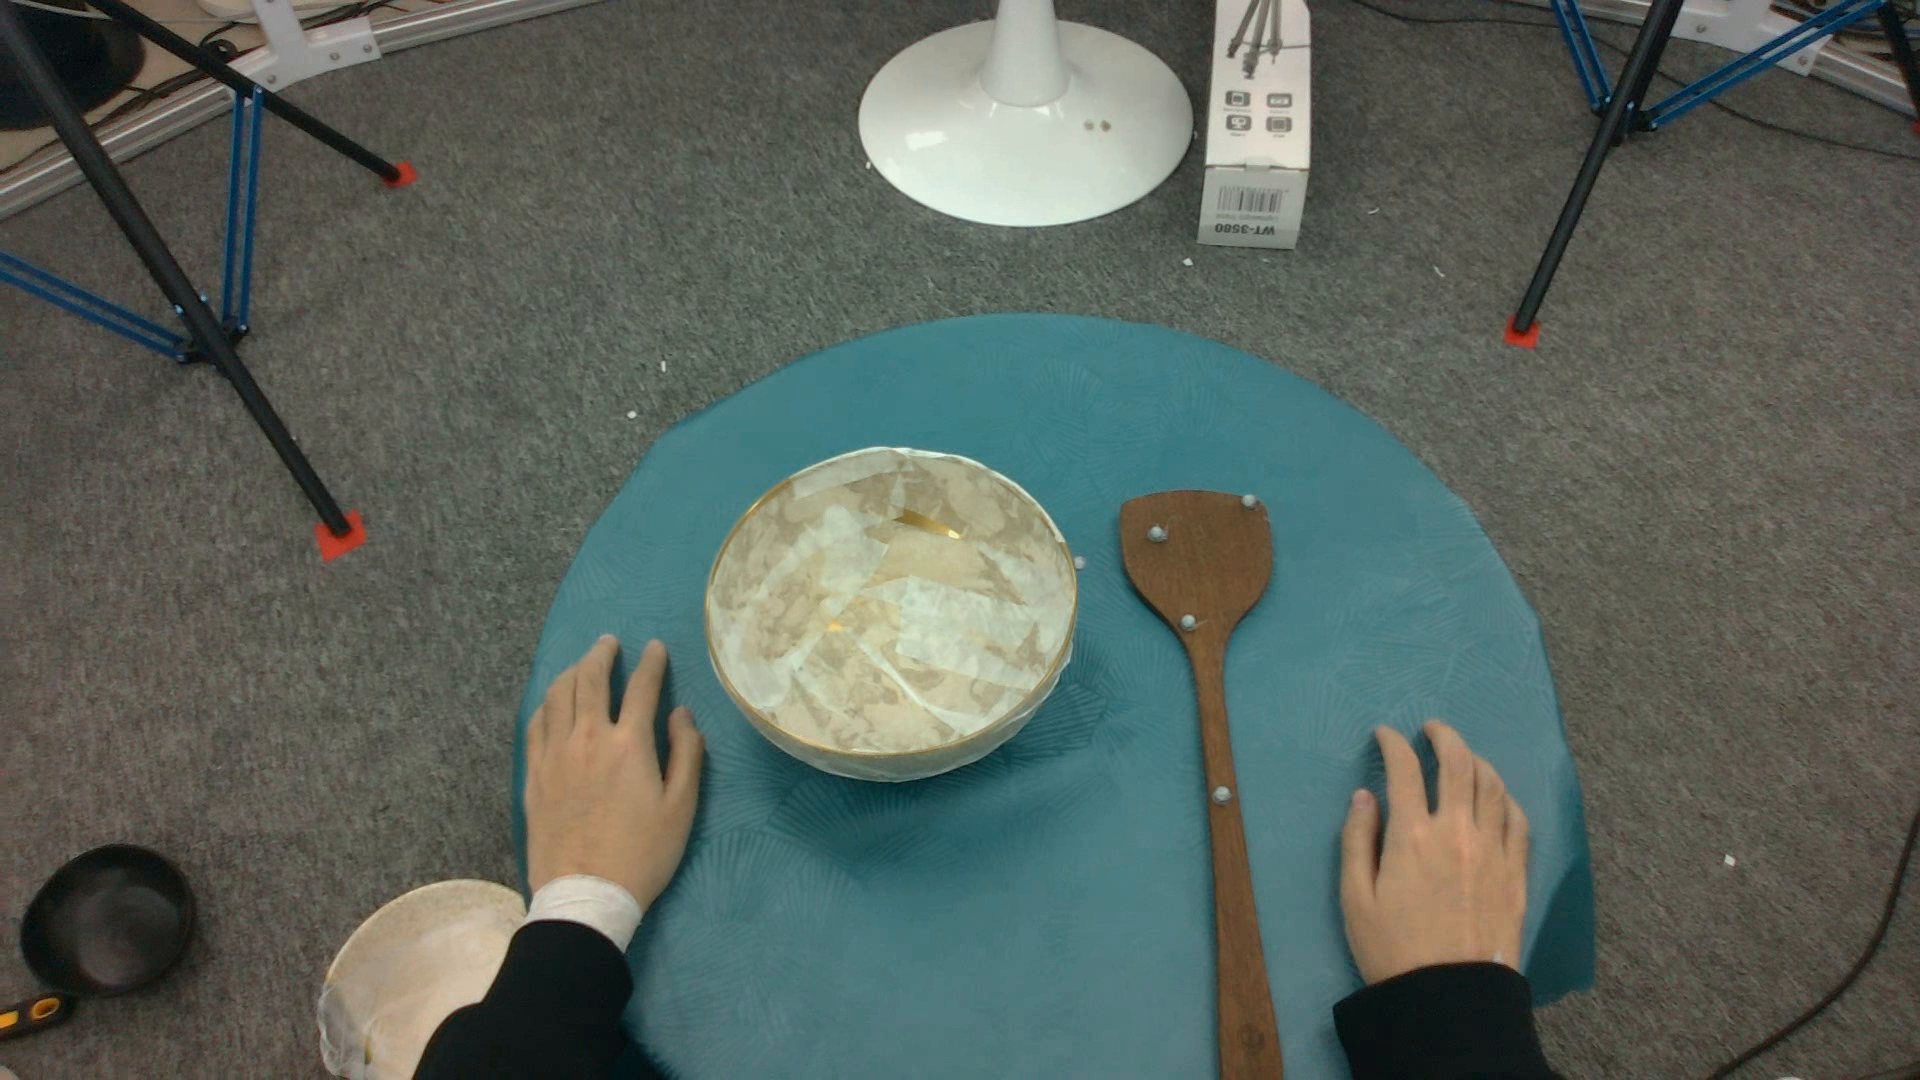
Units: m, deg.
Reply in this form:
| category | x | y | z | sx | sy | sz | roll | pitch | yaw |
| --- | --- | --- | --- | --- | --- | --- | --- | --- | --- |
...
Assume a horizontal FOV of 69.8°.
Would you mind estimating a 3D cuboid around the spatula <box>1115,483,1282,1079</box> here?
| category | x | y | z | sx | sy | sz | roll | pitch | yaw |
| --- | --- | --- | --- | --- | --- | --- | --- | --- | --- |
| spatula | 0.141 | 0.121 | 0.759 | 0.096 | 0.016 | 0.387 | 0 | 53 | 1 |

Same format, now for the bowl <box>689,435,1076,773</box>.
| category | x | y | z | sx | sy | sz | roll | pitch | yaw |
| --- | --- | --- | --- | --- | --- | --- | --- | --- | --- |
| bowl | -0.042 | 0.049 | 0.766 | 0.215 | 0.094 | 0.215 | 0 | 55 | 0 |
